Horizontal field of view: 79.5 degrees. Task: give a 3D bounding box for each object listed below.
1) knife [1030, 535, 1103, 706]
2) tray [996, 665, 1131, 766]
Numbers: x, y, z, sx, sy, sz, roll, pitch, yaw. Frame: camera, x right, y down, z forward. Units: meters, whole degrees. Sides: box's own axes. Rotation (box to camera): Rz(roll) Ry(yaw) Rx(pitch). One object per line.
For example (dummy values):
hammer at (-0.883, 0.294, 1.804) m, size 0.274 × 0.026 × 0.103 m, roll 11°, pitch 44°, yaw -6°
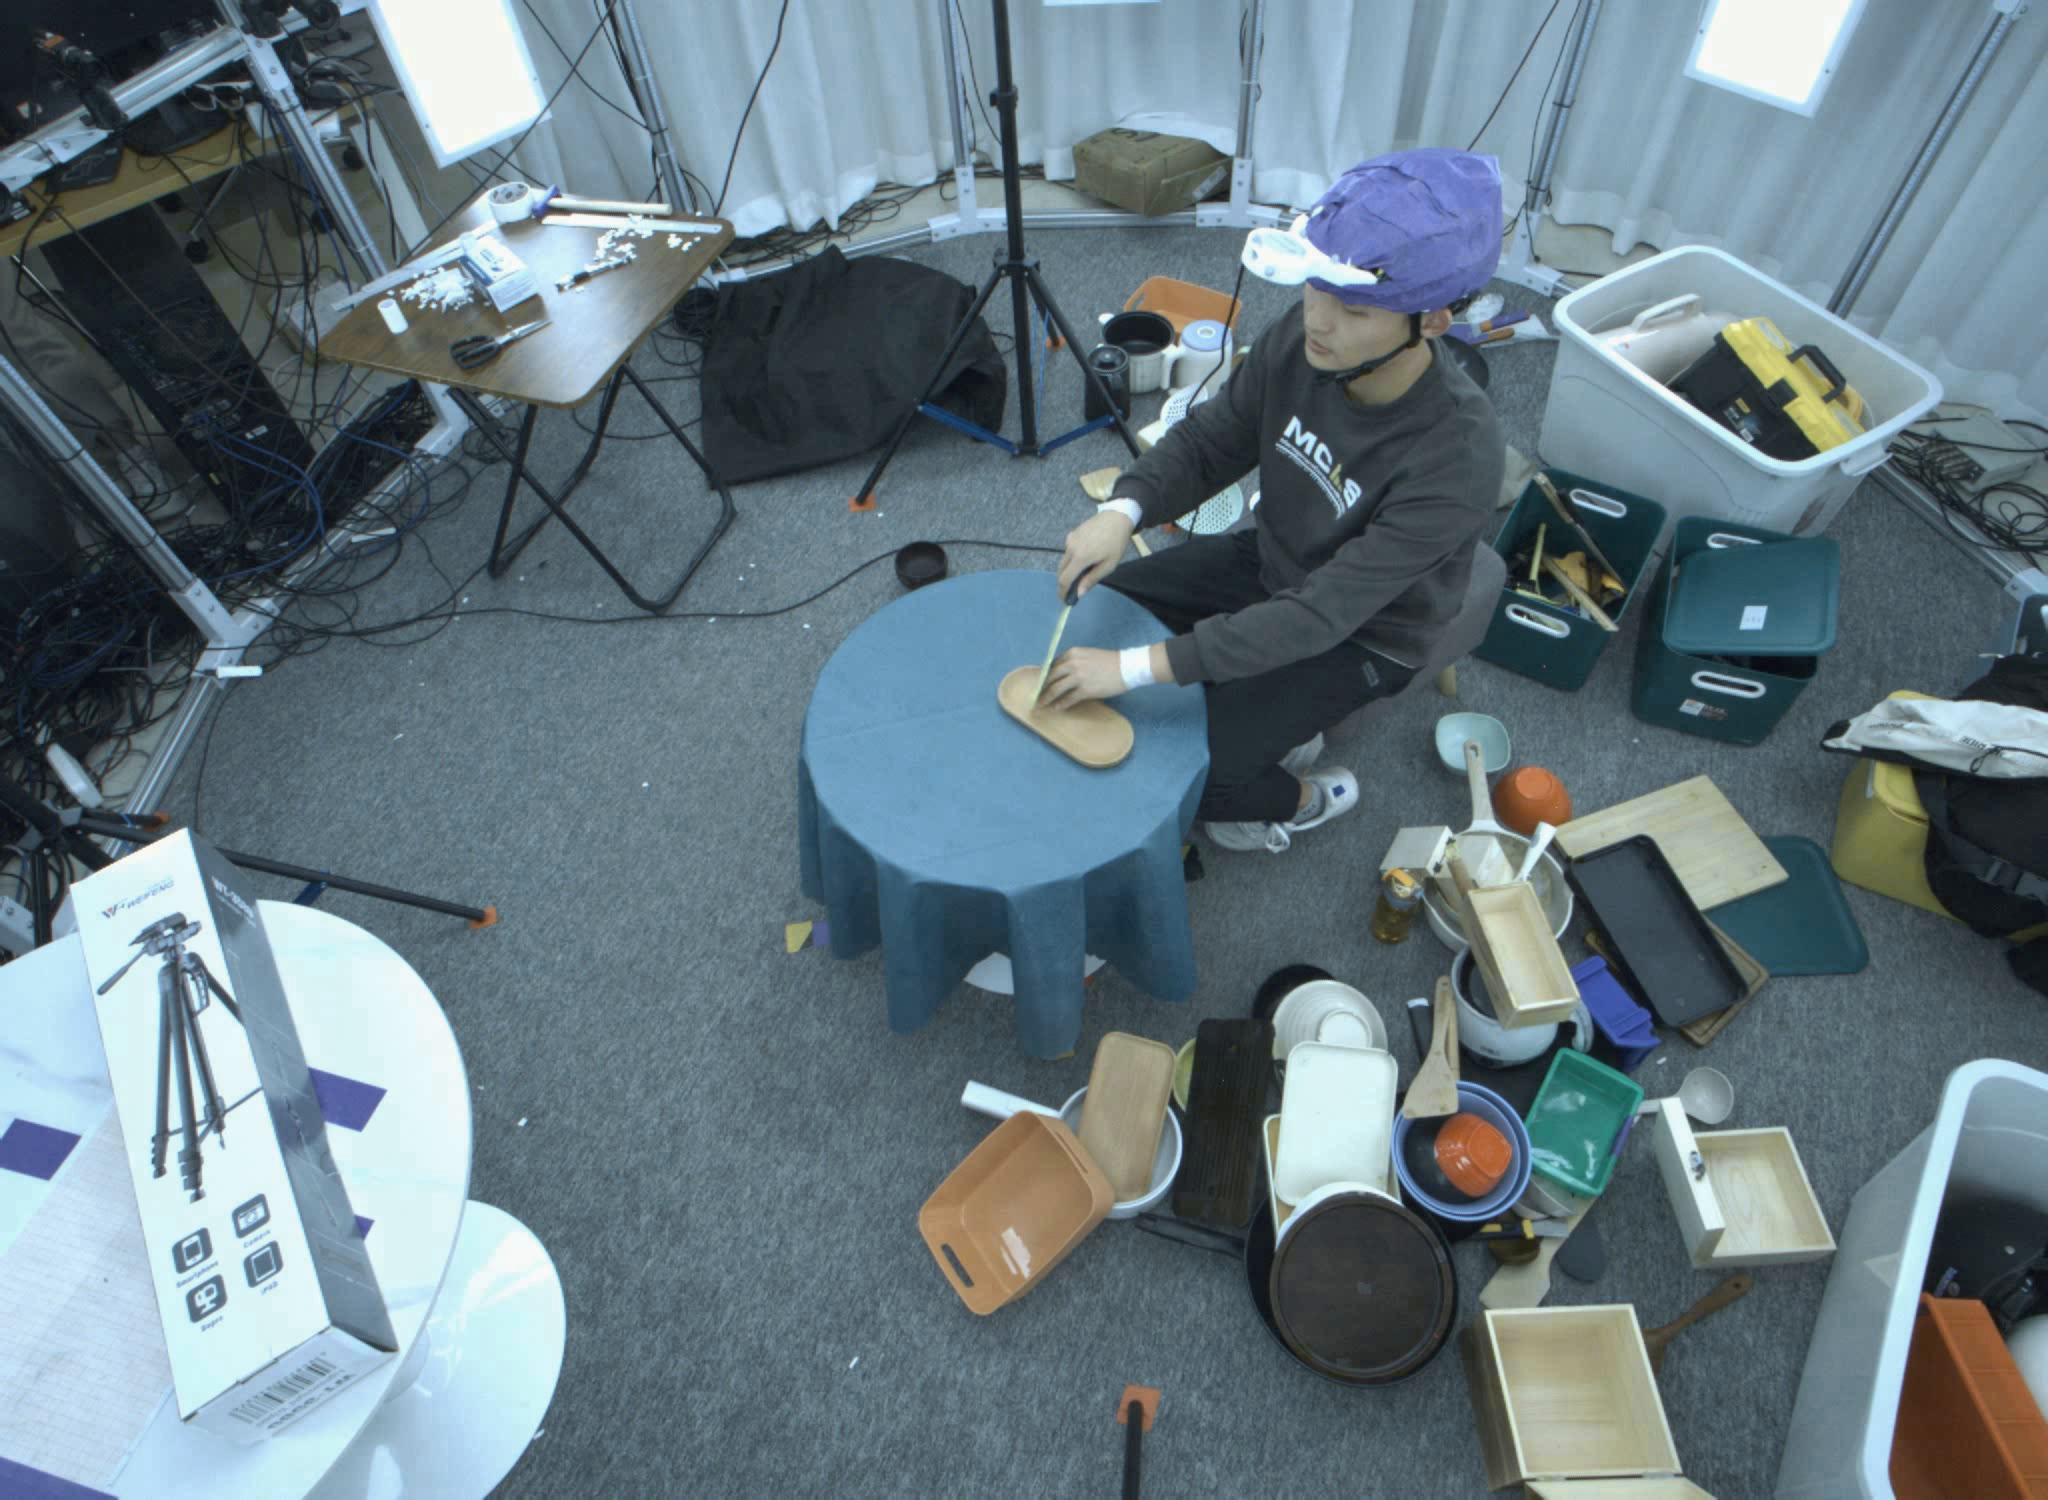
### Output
knife at (0.060, -0.194, 1.839) m, size 0.027 × 0.080 × 0.289 m, roll 24°, pitch 74°, yaw -7°
tray at (0.057, -0.052, 1.821) m, size 0.227 × 0.020 × 0.102 m, roll 34°, pitch 60°, yaw 25°
